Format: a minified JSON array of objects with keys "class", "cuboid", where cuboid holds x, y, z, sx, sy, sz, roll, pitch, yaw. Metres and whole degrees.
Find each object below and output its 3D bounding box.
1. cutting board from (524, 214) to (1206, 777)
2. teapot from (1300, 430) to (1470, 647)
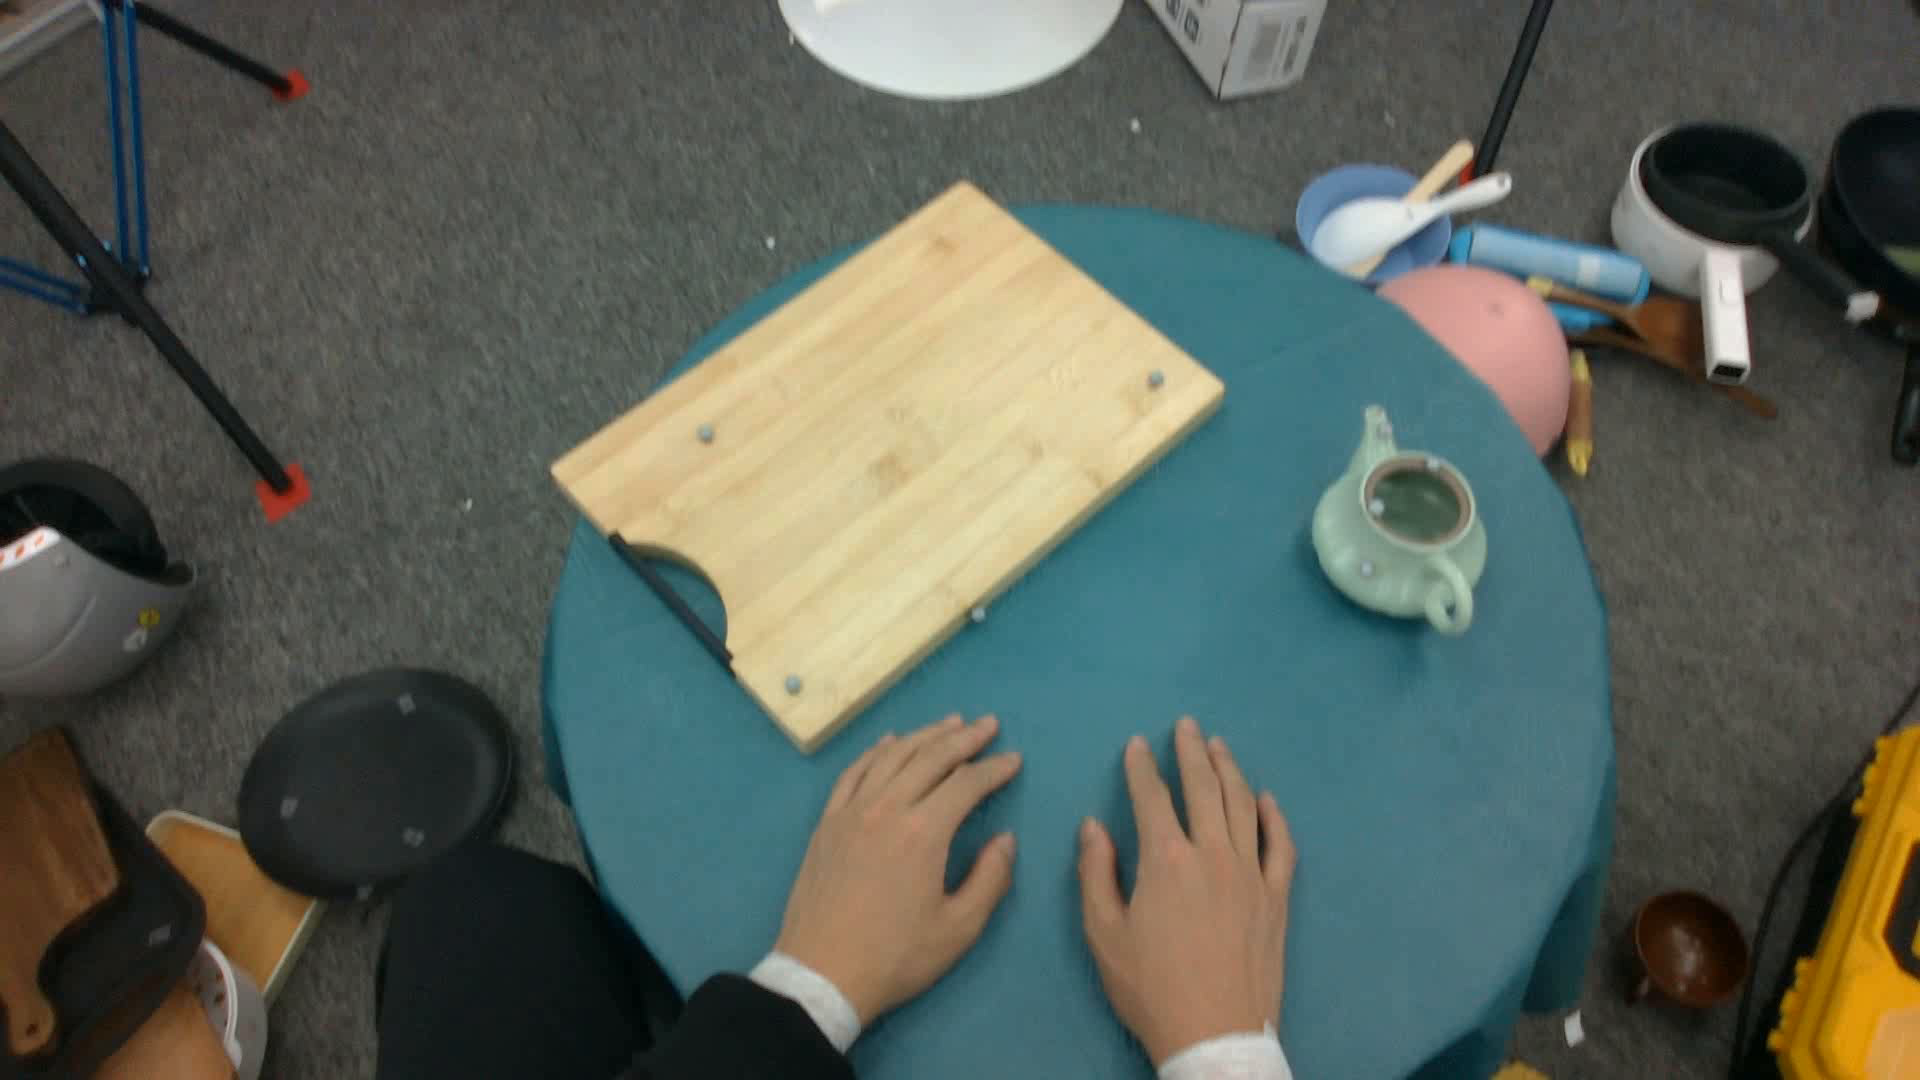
[{"class":"cutting board","cuboid":[-0.051,-0.048,0.846,0.350,0.023,0.251,-39,65,-23]},{"class":"teapot","cuboid":[0.247,0.006,0.785,0.096,0.061,0.137,-13,57,-10]}]
